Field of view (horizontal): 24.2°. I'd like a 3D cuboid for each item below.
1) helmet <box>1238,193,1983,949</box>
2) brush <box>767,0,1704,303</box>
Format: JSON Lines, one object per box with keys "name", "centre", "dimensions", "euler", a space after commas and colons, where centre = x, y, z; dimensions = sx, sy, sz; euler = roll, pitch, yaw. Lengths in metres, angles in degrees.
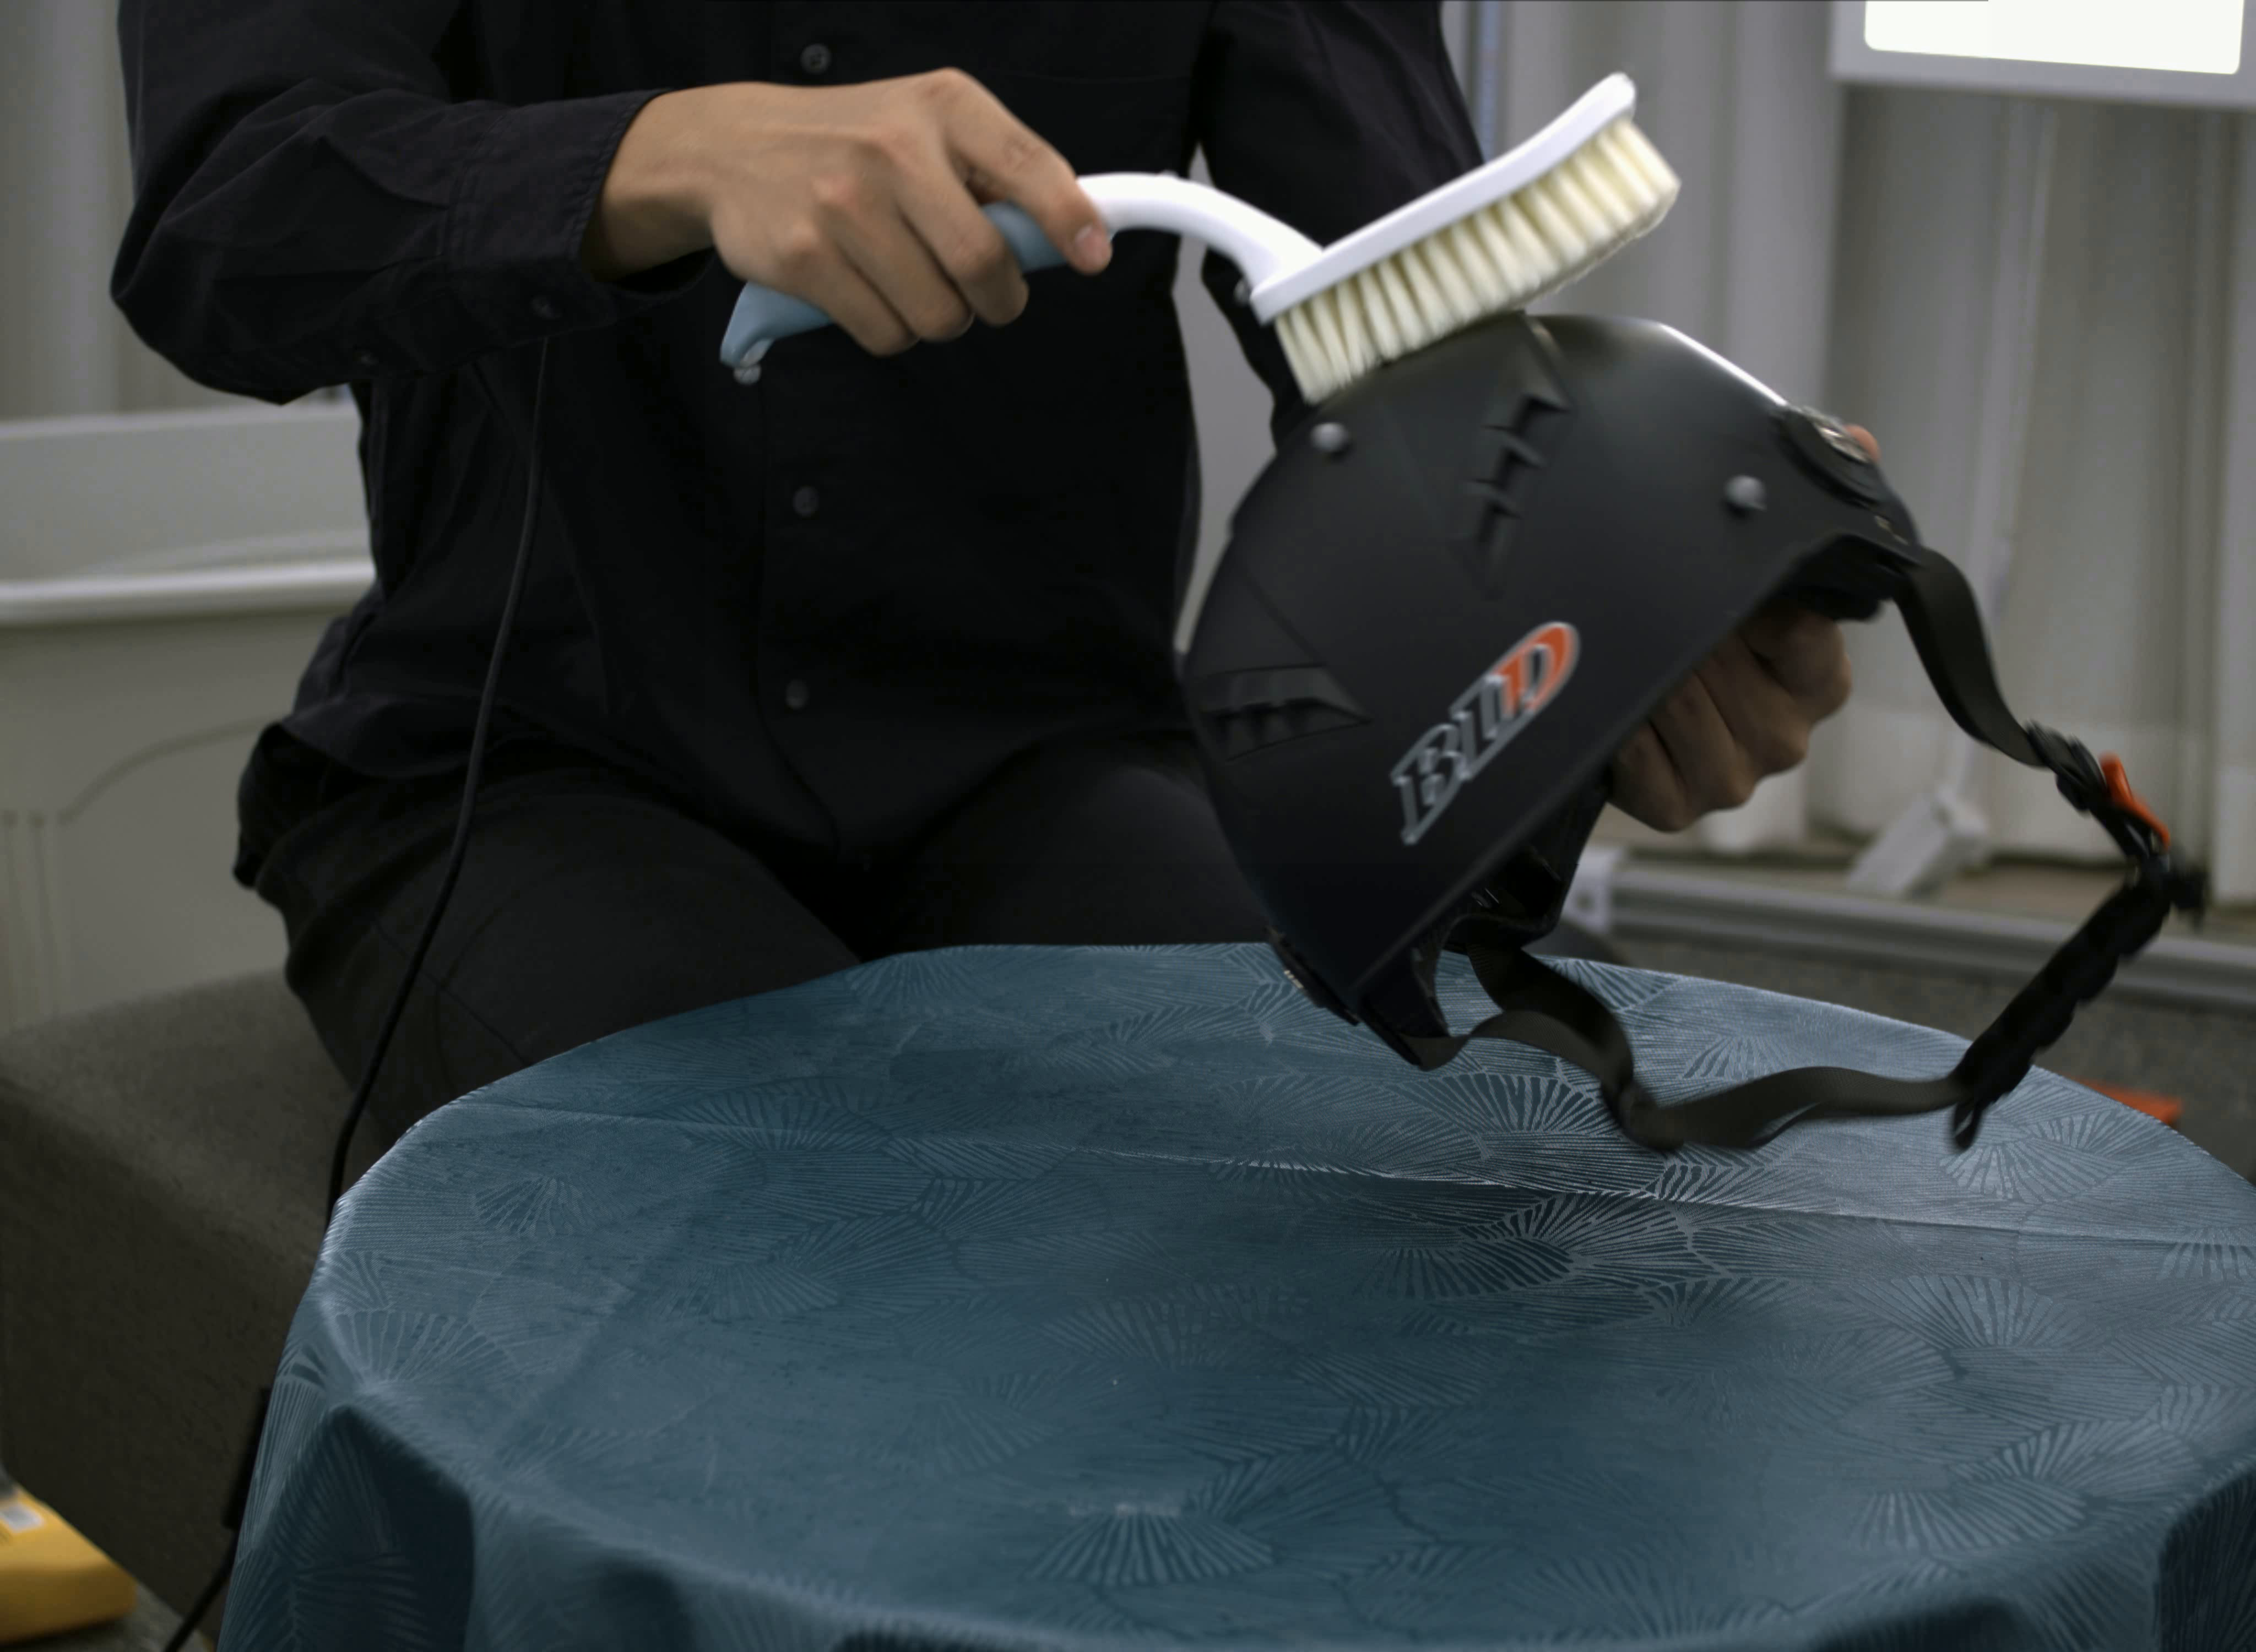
{"name": "helmet", "centre": [0.130, -0.097, 1.588], "dimensions": [0.172, 0.247, 0.277], "euler": [45, 14, 3]}
{"name": "brush", "centre": [0.032, -0.184, 1.638], "dimensions": [0.322, 0.084, 0.084], "euler": [-12, -29, 29]}
